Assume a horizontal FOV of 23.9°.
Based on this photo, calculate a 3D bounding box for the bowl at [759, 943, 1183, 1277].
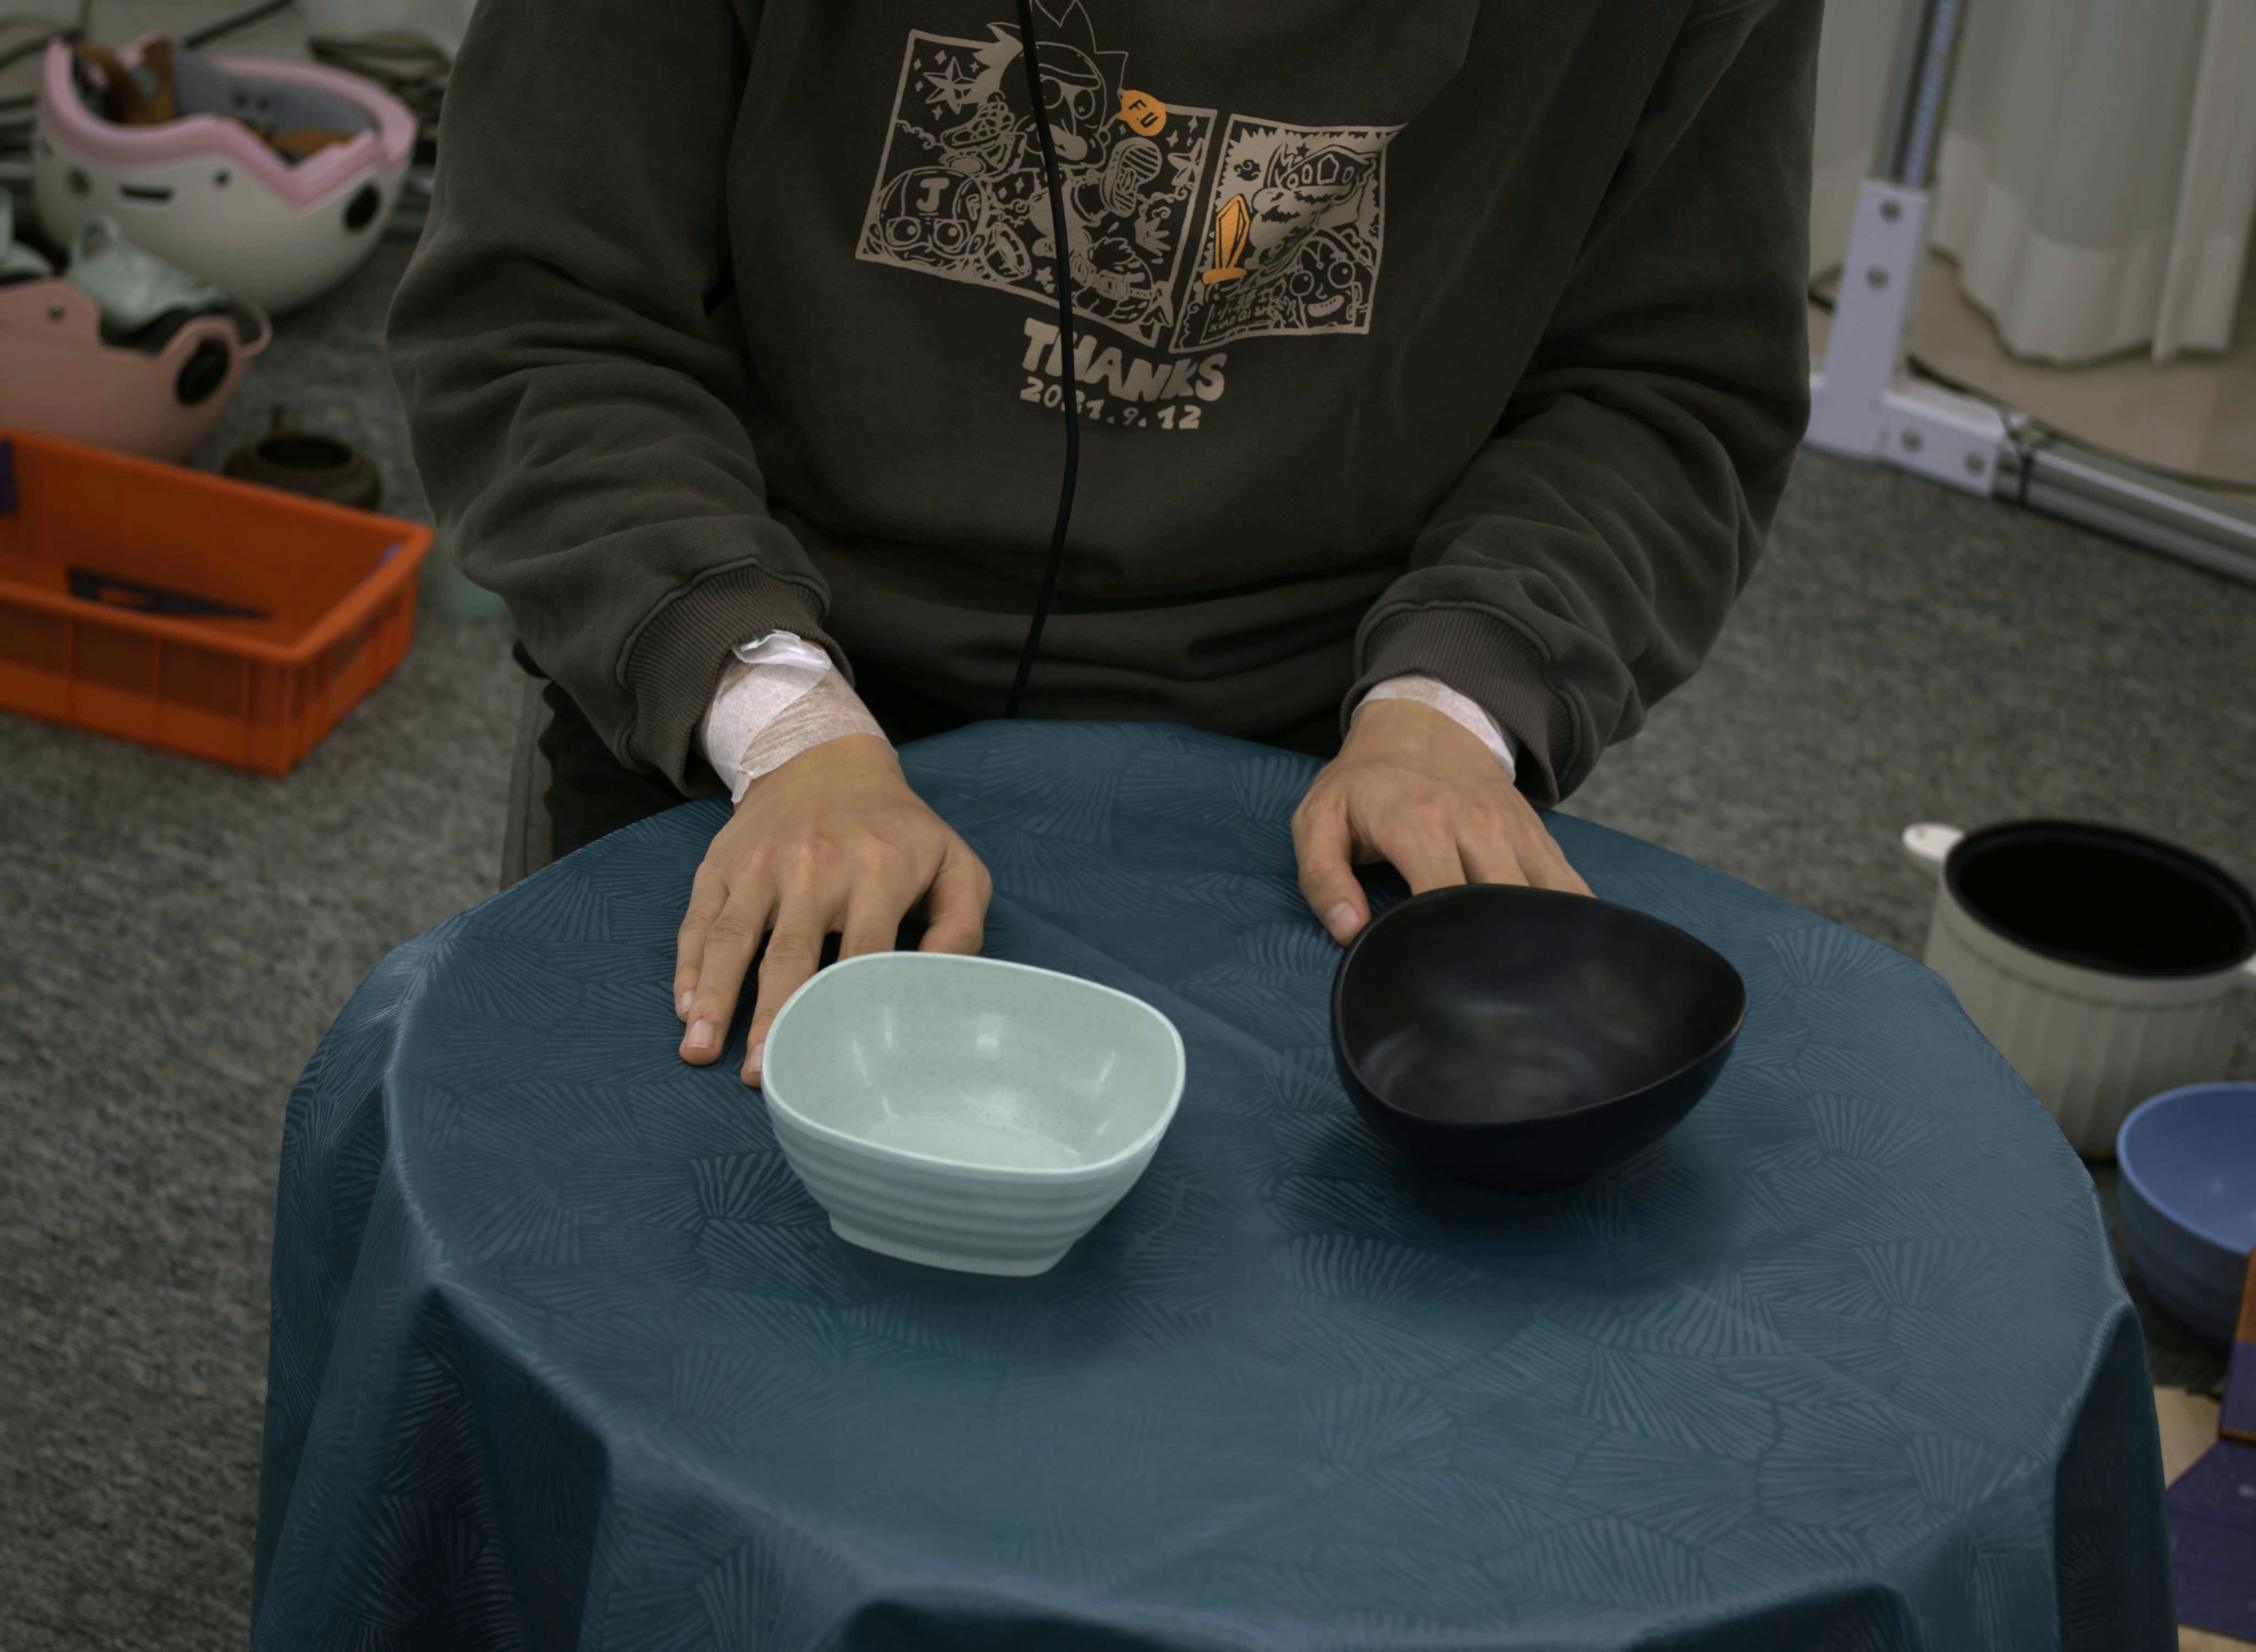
[{"bbox_3d":[-0.055,0.101,1.772,0.151,0.058,0.152,7,27,-4],"label":"bowl"}]

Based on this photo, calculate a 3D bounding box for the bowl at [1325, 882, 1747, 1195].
[{"bbox_3d":[0.138,0.084,1.845,0.138,0.066,0.170,21,31,27],"label":"bowl"}]
